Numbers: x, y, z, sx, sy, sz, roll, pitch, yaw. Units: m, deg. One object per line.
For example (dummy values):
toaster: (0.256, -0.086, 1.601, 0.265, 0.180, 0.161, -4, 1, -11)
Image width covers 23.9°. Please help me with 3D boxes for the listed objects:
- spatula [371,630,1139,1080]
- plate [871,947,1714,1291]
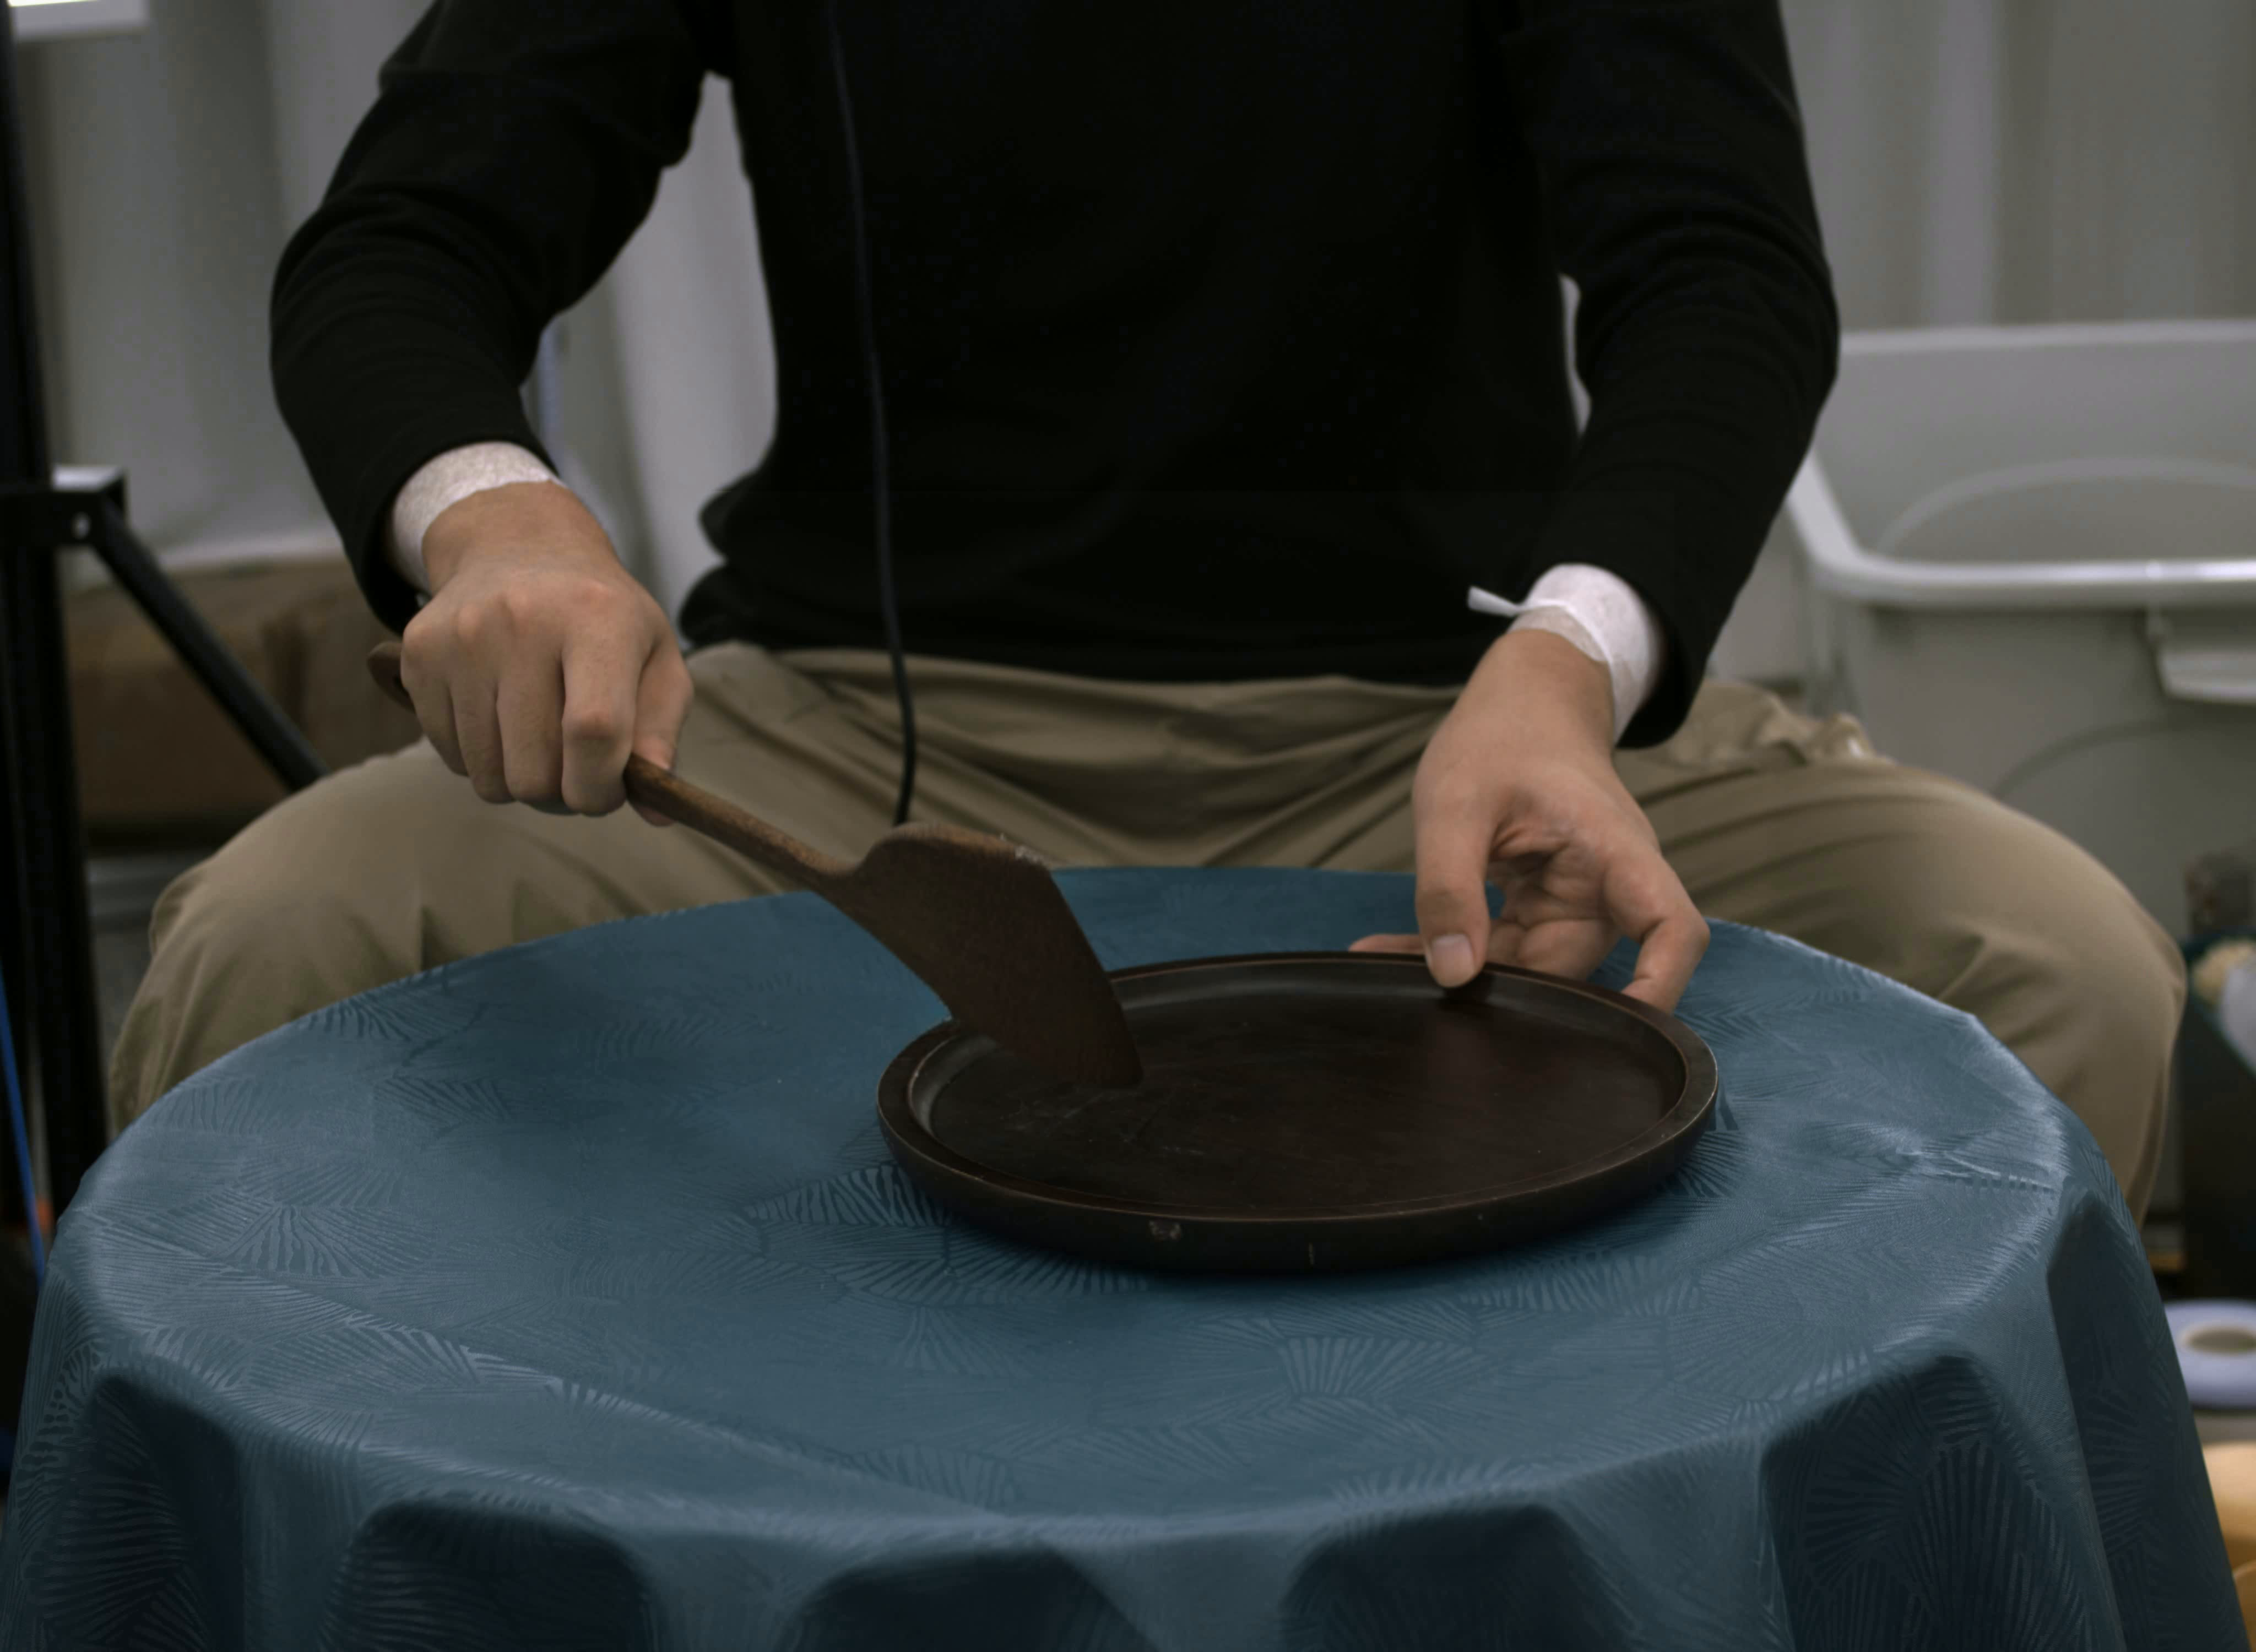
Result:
spatula: (-0.127, -0.006, 1.644, 0.015, 0.095, 0.395, -39, 36, -22)
plate: (0.050, 0.085, 1.591, 0.253, 0.029, 0.256, -4, 17, 0)
